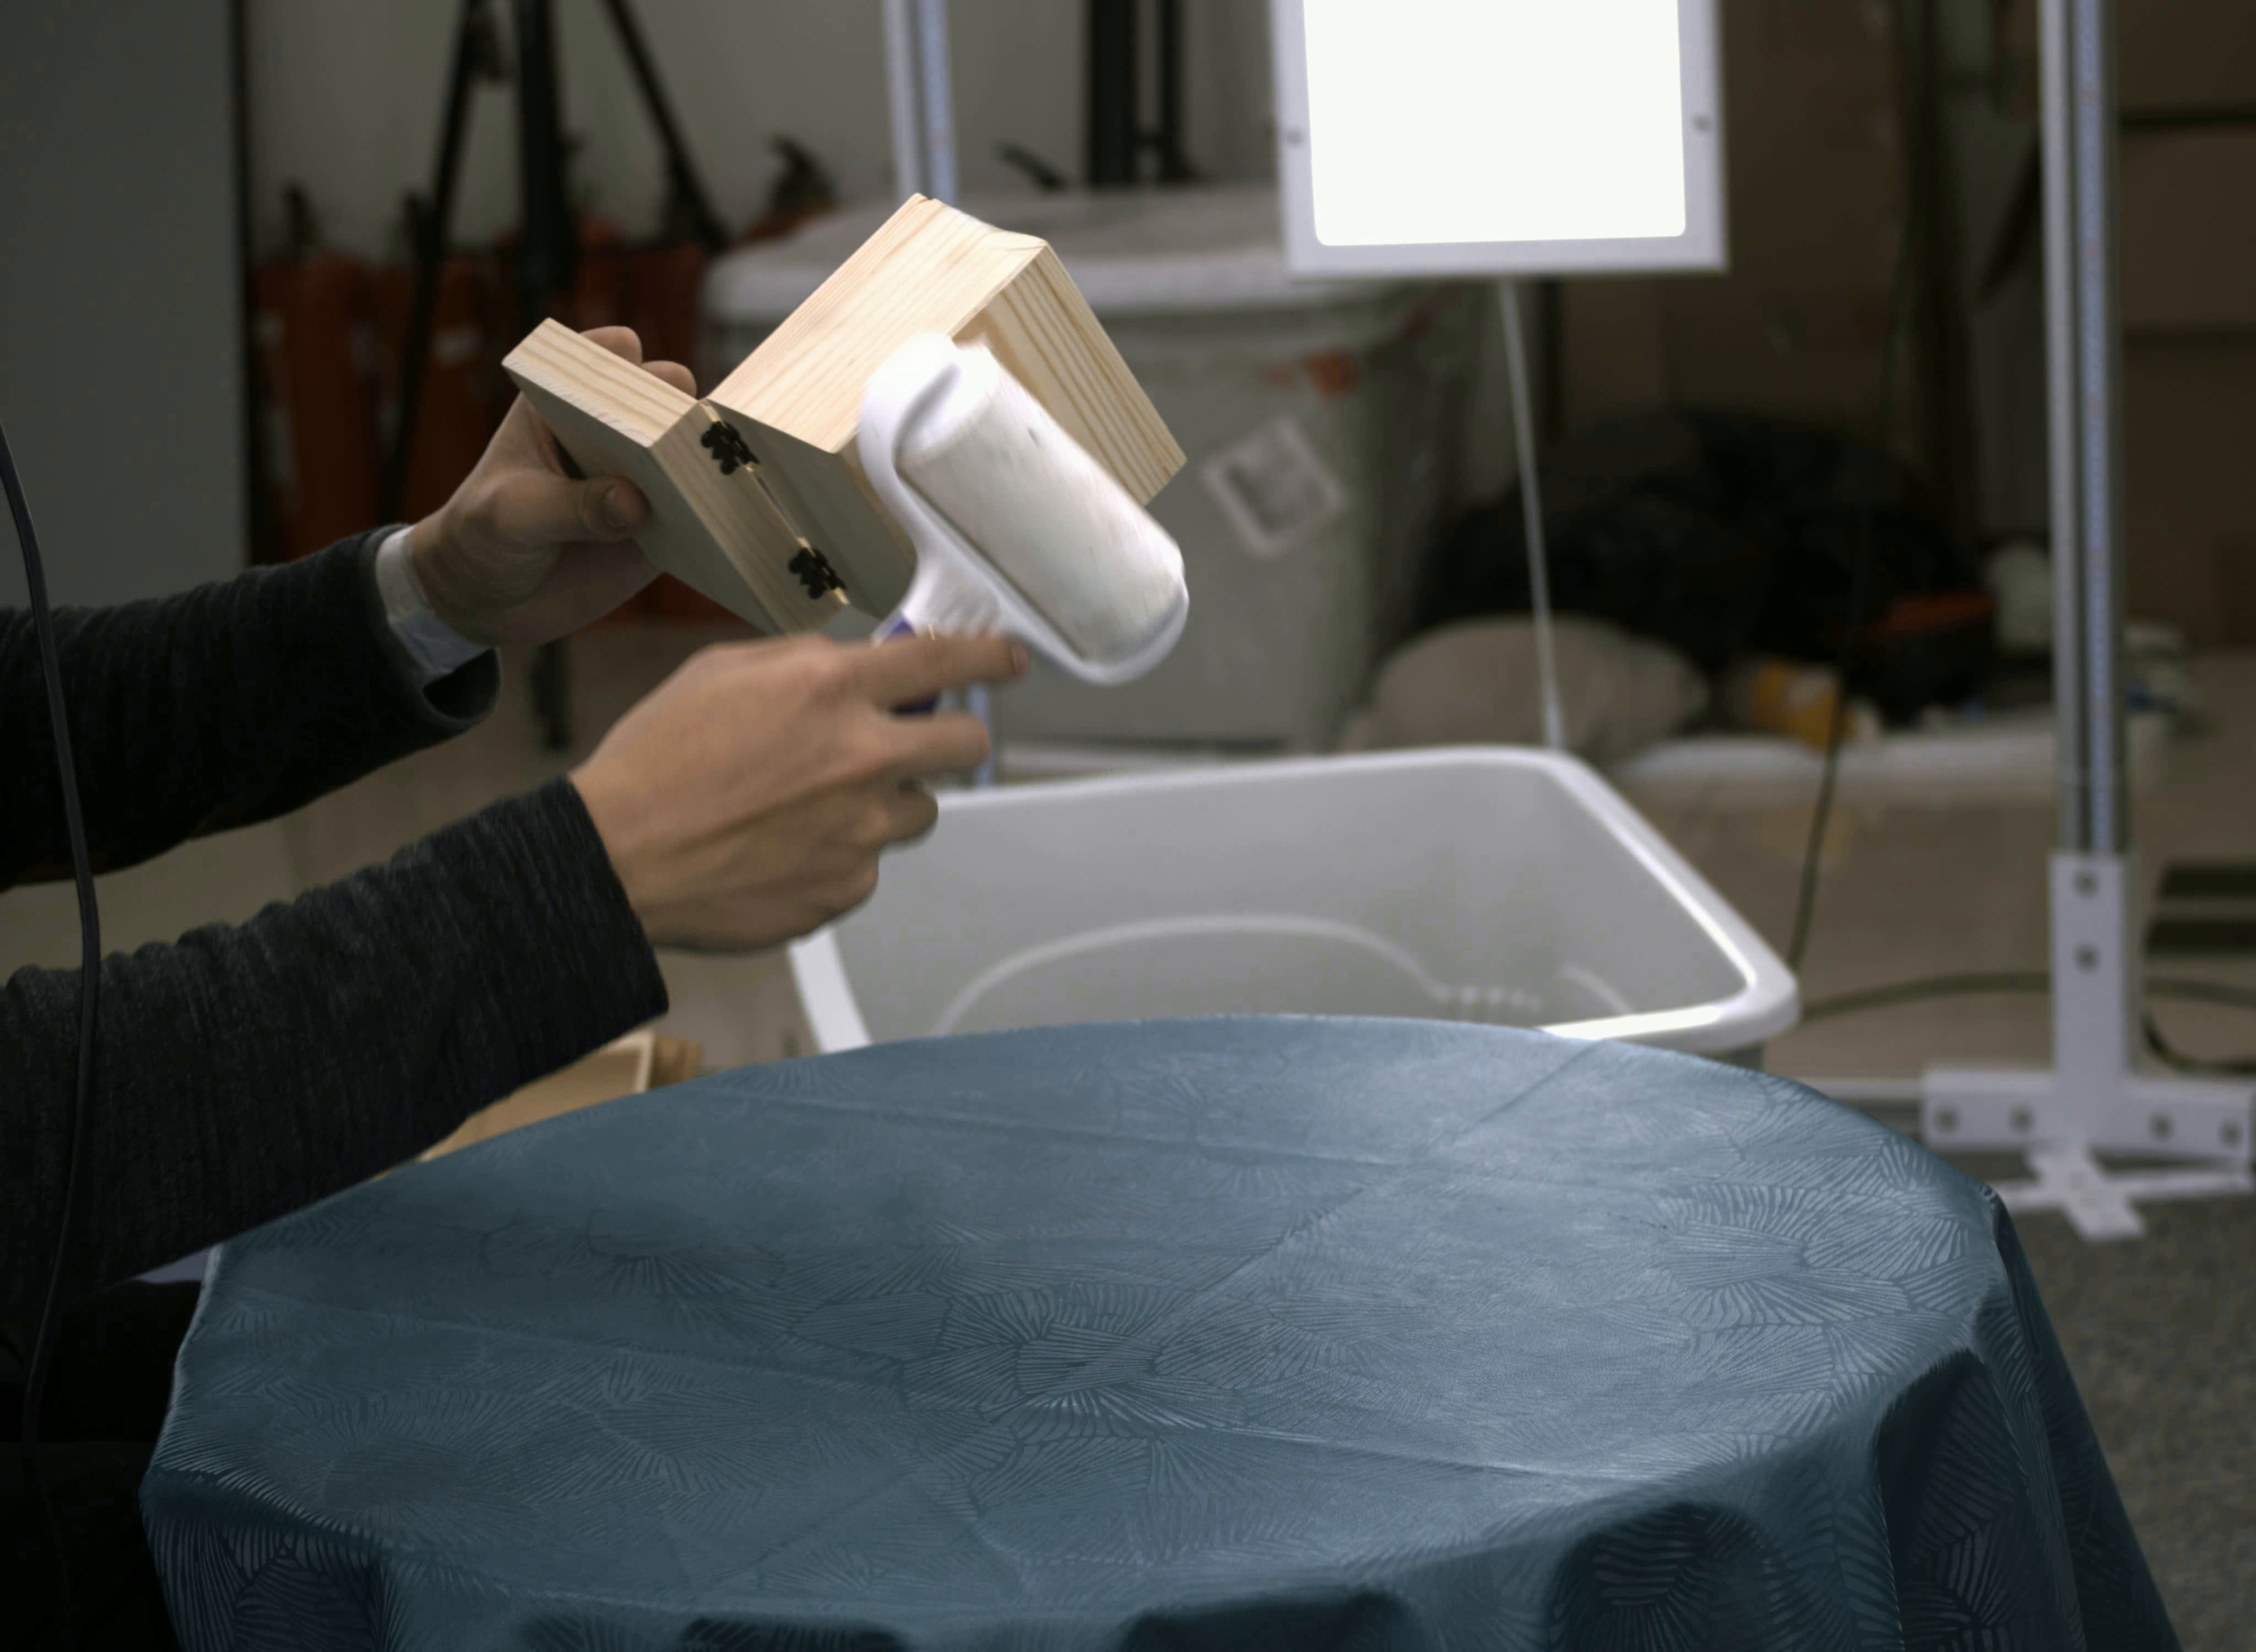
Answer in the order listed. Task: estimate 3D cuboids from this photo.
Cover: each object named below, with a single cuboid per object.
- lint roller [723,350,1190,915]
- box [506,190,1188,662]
[{"bbox_3d":[-0.064,-0.047,1.704,0.051,0.131,0.179,9,59,52],"label":"lint roller"},{"bbox_3d":[-0.095,-0.140,1.837,0.133,0.101,0.188,-47,38,-14],"label":"box"}]
